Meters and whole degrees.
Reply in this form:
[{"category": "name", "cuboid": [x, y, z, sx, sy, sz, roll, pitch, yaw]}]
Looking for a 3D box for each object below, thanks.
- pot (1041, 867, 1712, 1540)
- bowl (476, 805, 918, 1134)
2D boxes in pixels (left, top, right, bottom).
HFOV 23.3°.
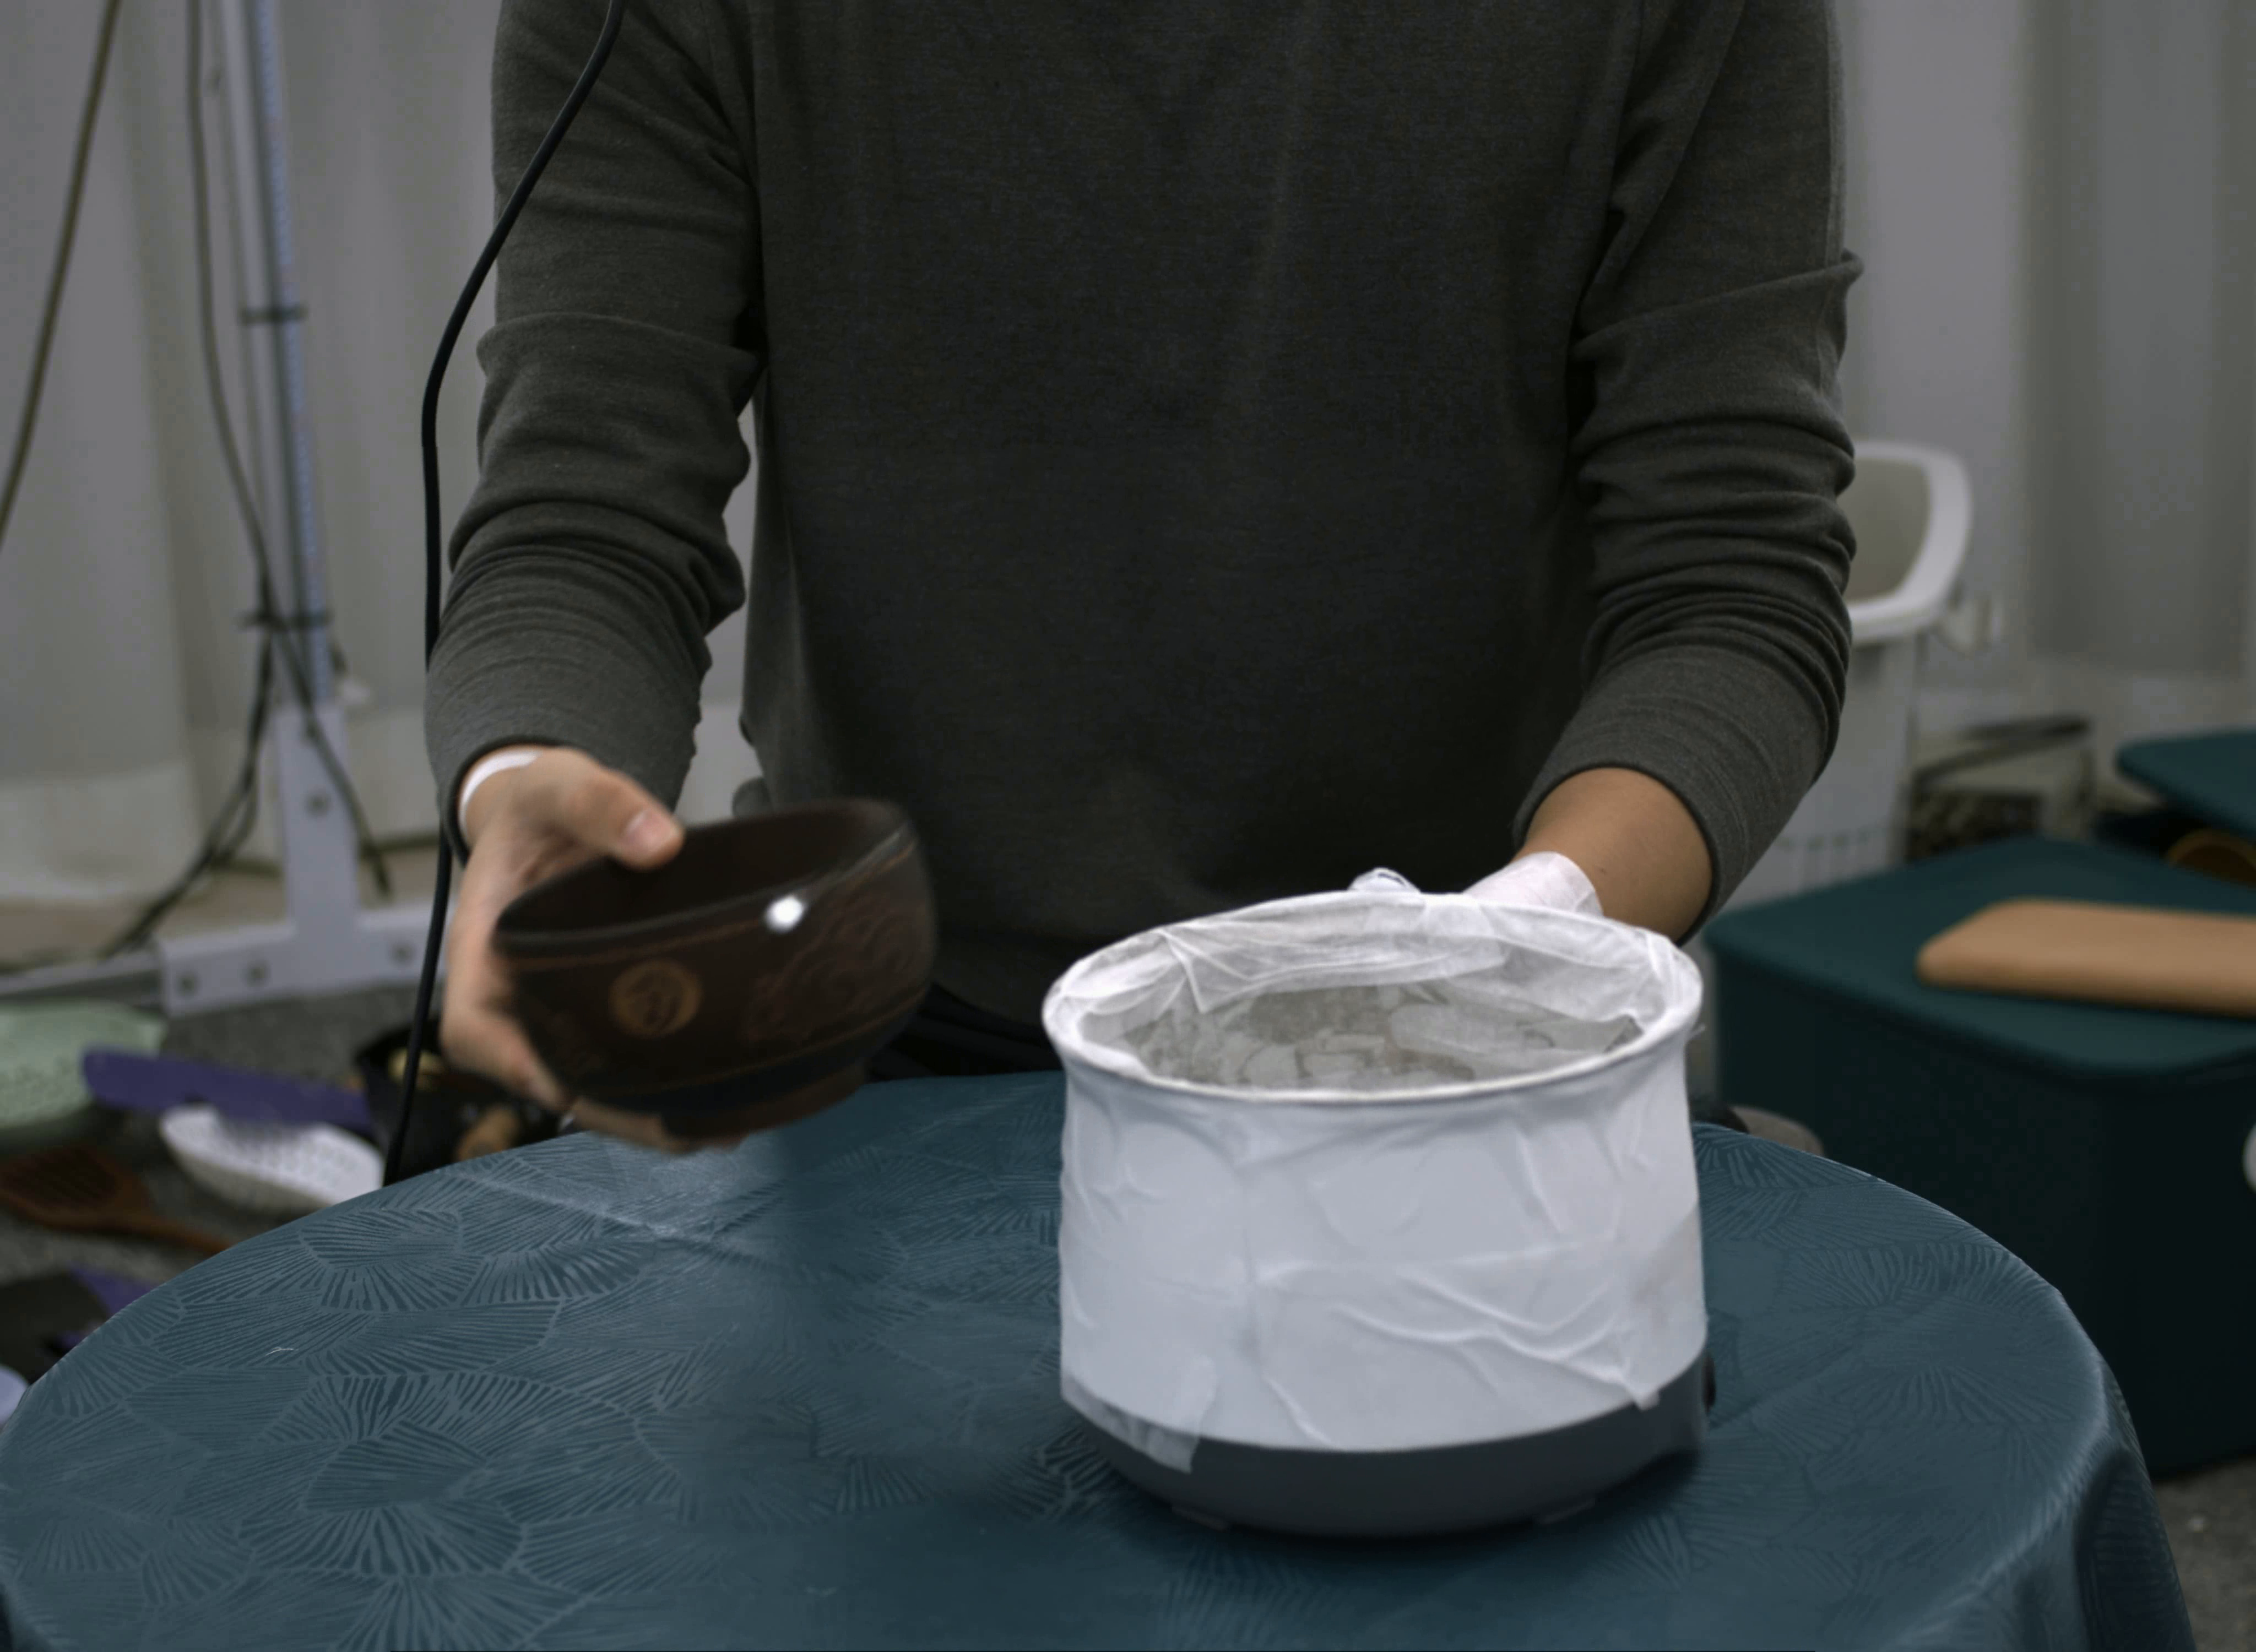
[{"category": "pot", "cuboid": [0.069, 0.097, 1.500, 0.178, 0.136, 0.235, -1, 15, 3]}, {"category": "bowl", "cuboid": [-0.112, 0.043, 1.480, 0.117, 0.070, 0.118, -15, 5, 1]}]
